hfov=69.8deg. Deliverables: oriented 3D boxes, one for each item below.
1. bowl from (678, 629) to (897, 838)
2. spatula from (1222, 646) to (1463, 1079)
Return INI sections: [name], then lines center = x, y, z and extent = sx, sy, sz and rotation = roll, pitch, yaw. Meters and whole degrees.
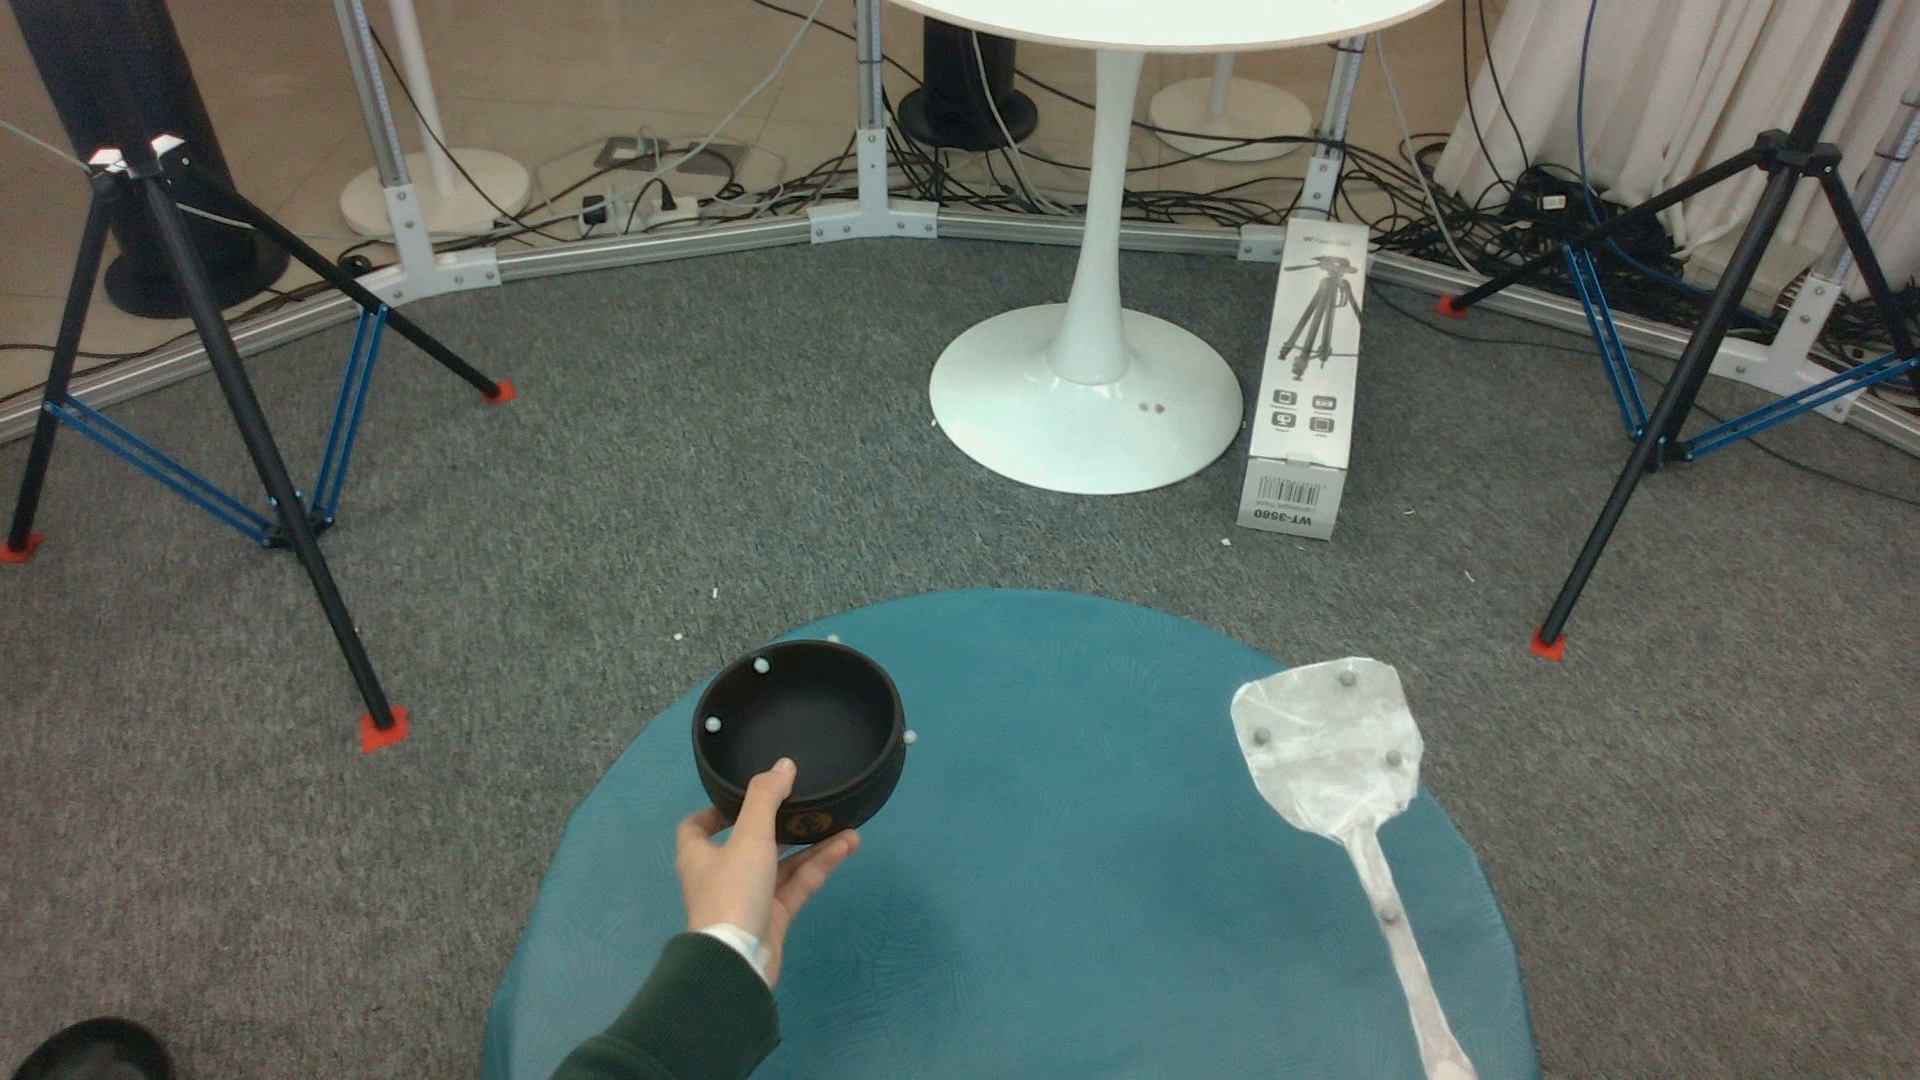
[bowl]
center = -0.093, 0.115, 0.768
extent = 0.118, 0.069, 0.118
rotation = -2, 46, 2
[spatula]
center = 0.214, 0.198, 0.681
extent = 0.098, 0.044, 0.366
rotation = -12, 40, 4
